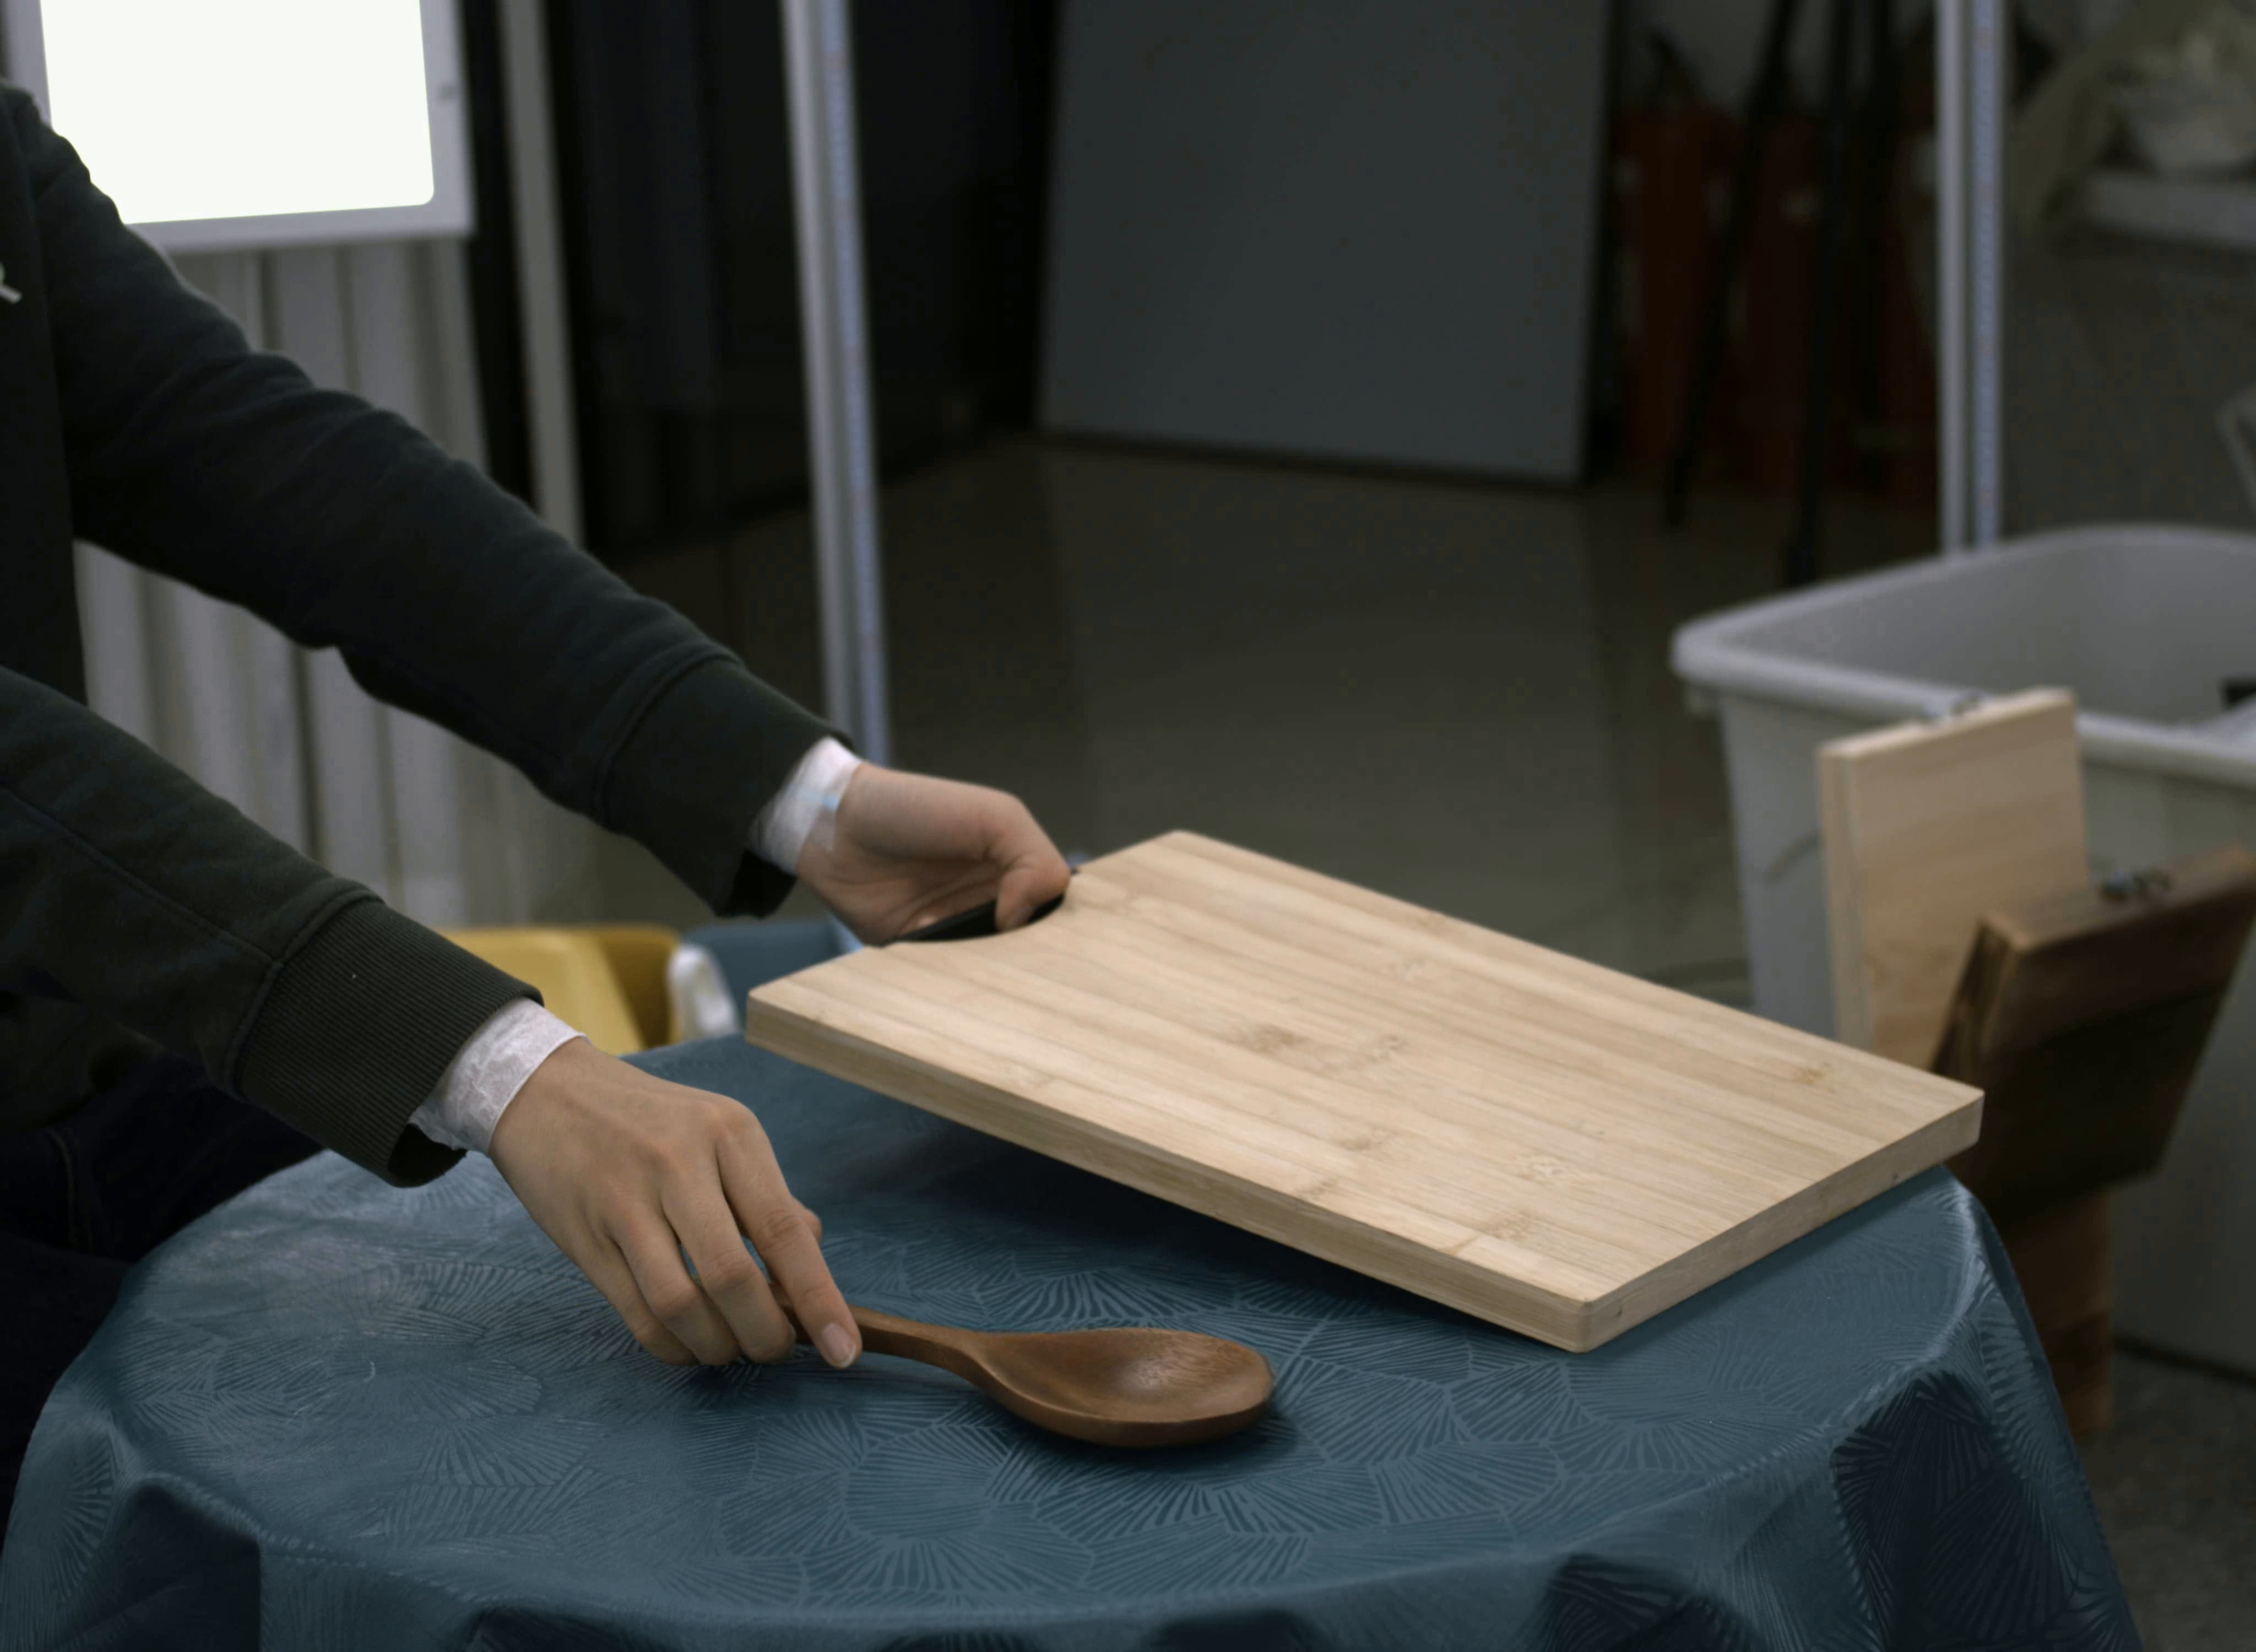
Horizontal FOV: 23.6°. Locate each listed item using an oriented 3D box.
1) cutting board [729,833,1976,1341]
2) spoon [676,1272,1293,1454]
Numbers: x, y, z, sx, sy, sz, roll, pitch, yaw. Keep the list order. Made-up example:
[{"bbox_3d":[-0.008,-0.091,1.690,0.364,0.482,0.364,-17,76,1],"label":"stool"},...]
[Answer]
[{"bbox_3d":[0.073,0.079,1.779,0.351,0.024,0.246,17,23,35],"label":"cutting board"},{"bbox_3d":[-0.046,0.157,1.594,0.217,0.017,0.074,8,21,35],"label":"spoon"}]
